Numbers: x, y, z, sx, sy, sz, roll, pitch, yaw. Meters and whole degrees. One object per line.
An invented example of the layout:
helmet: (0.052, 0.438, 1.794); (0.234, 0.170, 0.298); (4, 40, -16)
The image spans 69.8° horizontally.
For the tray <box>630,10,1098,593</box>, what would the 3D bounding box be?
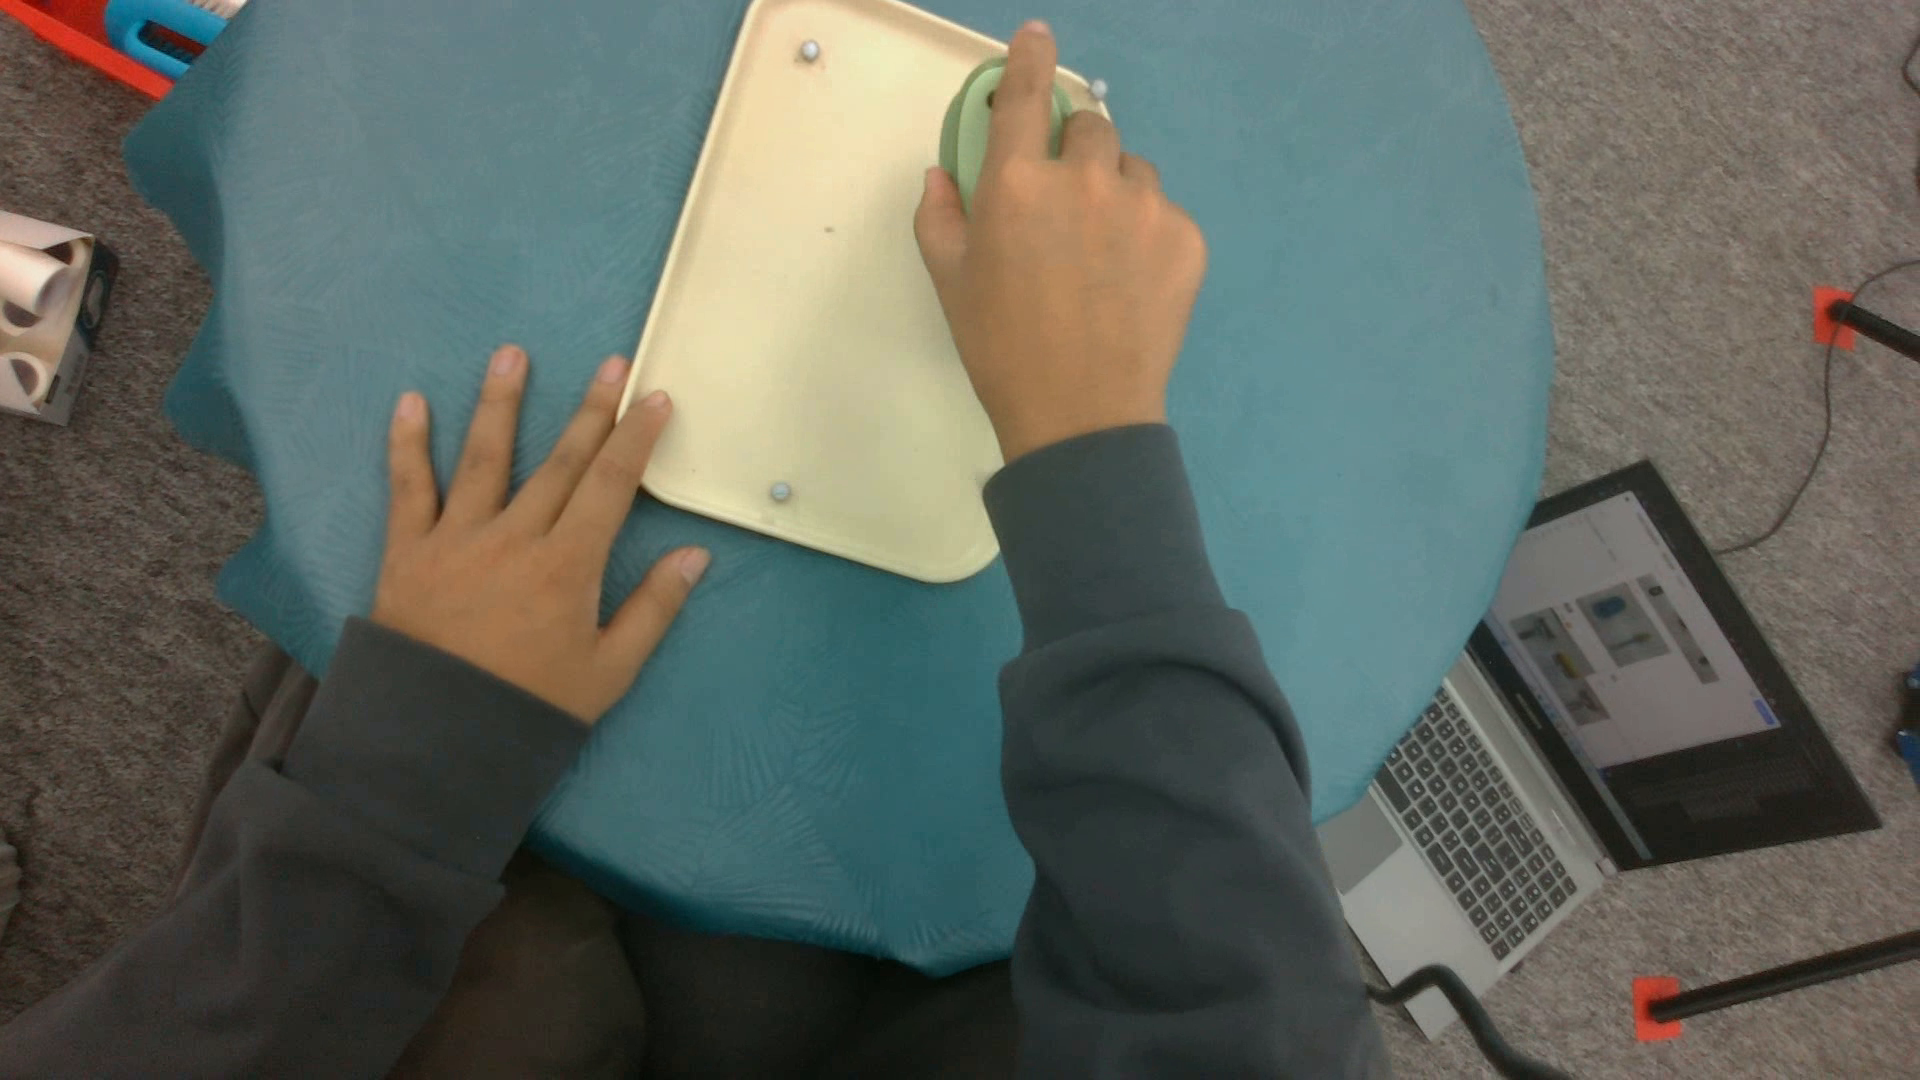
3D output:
tray: (-0.038, -0.105, 0.607); (0.171, 0.017, 0.240); (15, 80, -12)

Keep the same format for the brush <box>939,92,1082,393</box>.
brush: (0.020, -0.122, 0.565); (0.059, 0.076, 0.122); (-1, 112, 6)
